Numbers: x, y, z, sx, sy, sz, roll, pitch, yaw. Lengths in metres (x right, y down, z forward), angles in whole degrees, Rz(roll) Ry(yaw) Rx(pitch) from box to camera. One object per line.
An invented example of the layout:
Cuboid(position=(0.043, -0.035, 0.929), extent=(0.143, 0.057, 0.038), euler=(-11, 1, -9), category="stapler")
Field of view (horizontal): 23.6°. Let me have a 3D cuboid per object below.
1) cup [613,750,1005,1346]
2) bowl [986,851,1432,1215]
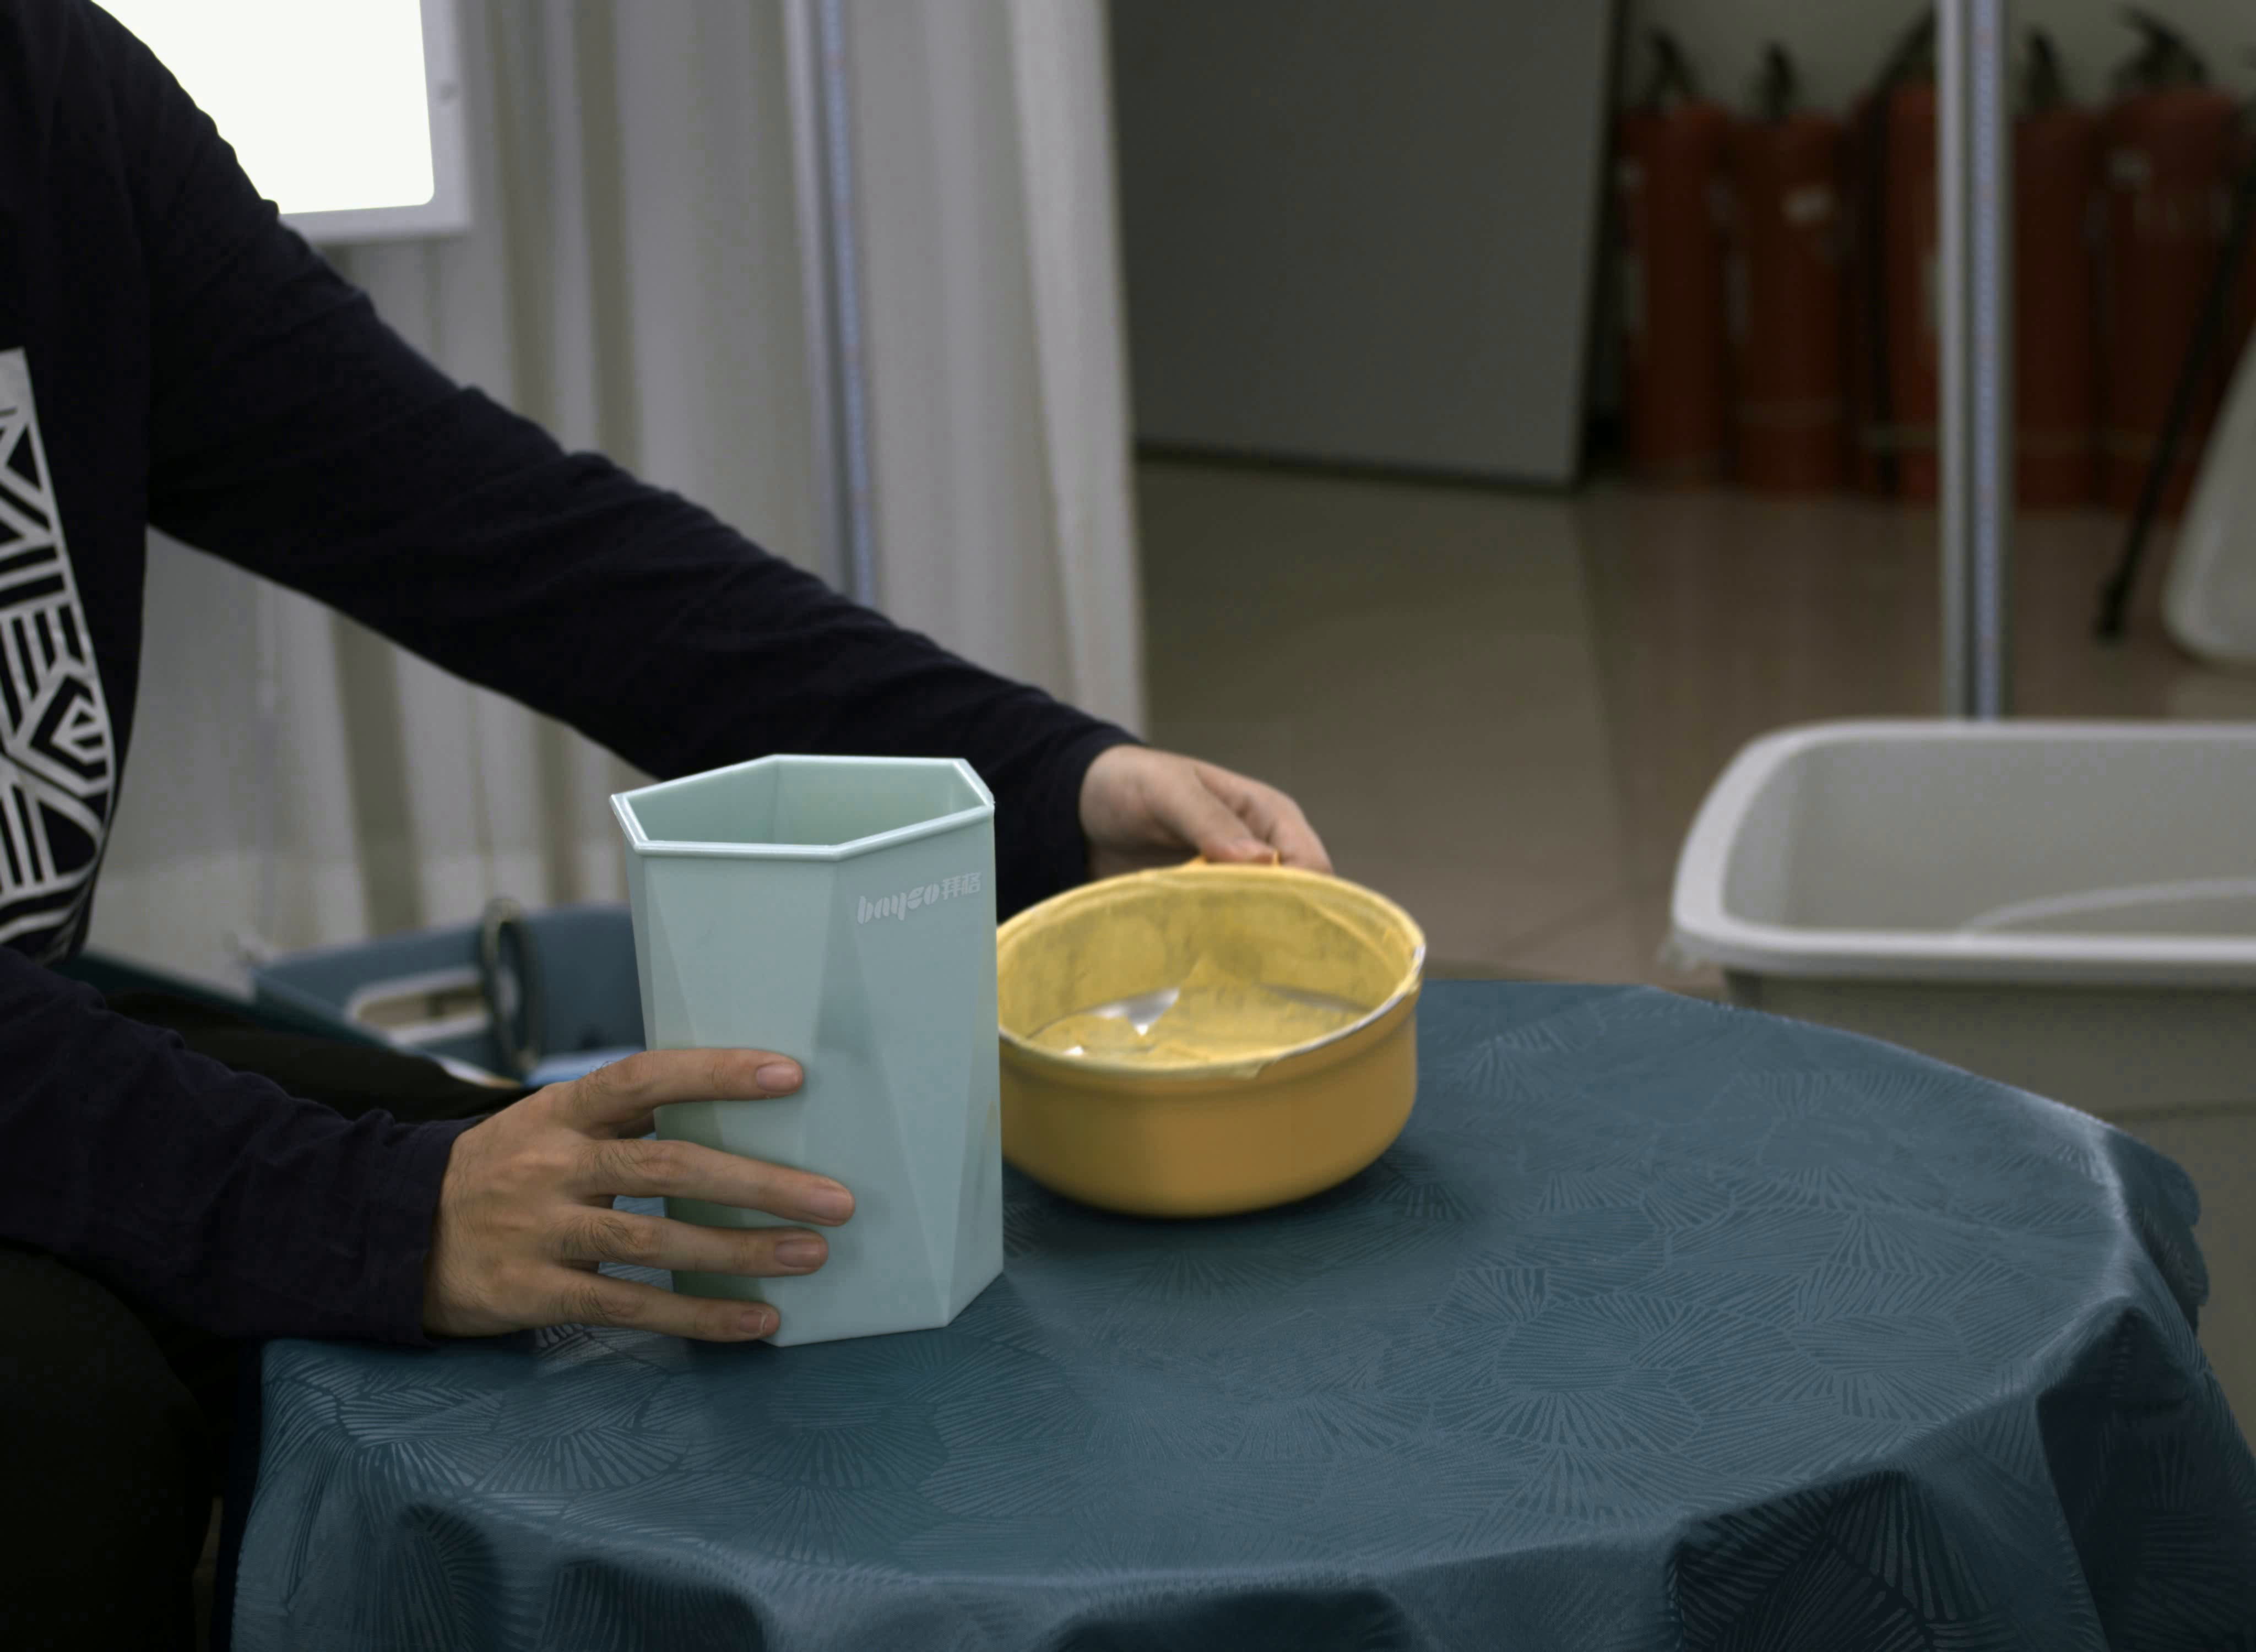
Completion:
Cuboid(position=(-0.093, 0.068, 1.675), extent=(0.128, 0.165, 0.116), euler=(-14, 16, -40), category="cup")
Cuboid(position=(0.029, 0.067, 1.790), extent=(0.152, 0.075, 0.179), euler=(-4, 24, 9), category="bowl")
